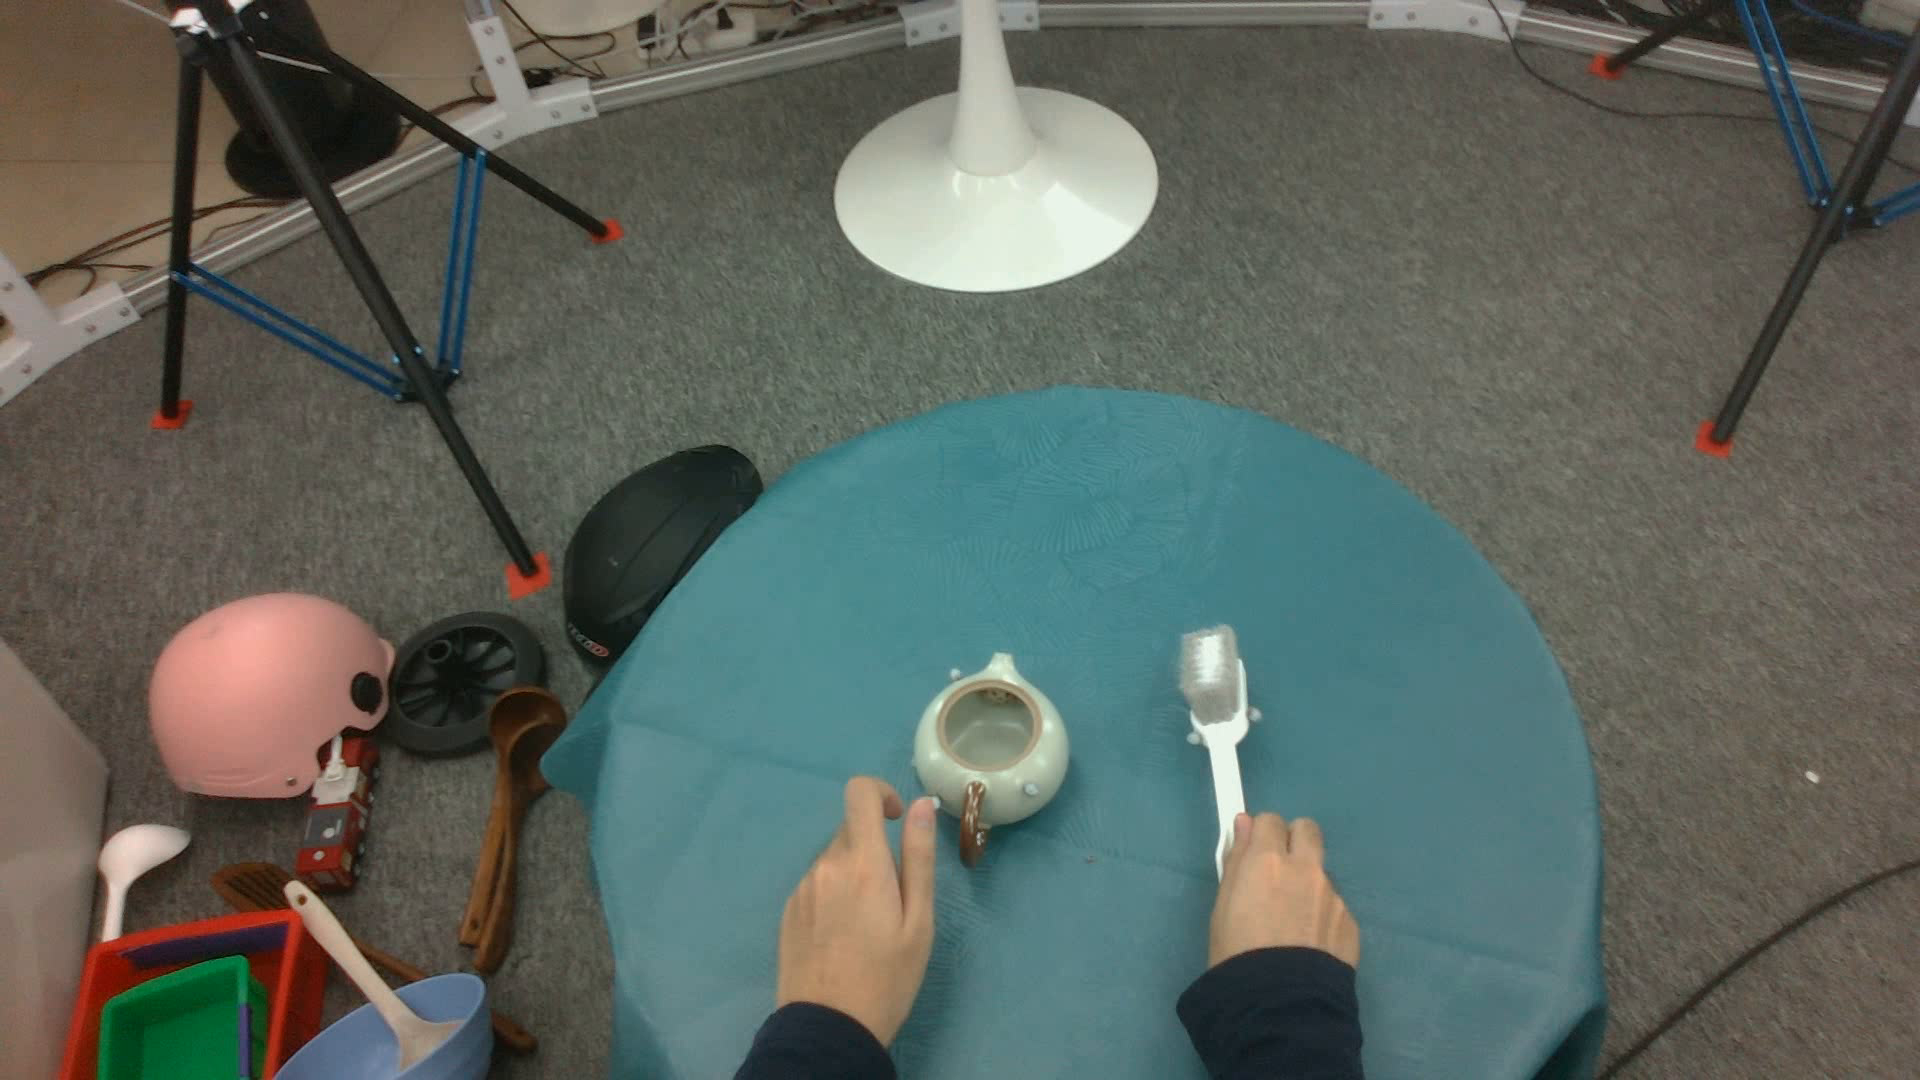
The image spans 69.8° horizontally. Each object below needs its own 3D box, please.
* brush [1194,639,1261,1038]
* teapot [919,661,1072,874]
[{"bbox_3d":[0.151,0.155,0.777,0.034,0.050,0.245,-2,45,10],"label":"brush"},{"bbox_3d":[0.019,0.137,0.818,0.092,0.059,0.128,7,50,7],"label":"teapot"}]
